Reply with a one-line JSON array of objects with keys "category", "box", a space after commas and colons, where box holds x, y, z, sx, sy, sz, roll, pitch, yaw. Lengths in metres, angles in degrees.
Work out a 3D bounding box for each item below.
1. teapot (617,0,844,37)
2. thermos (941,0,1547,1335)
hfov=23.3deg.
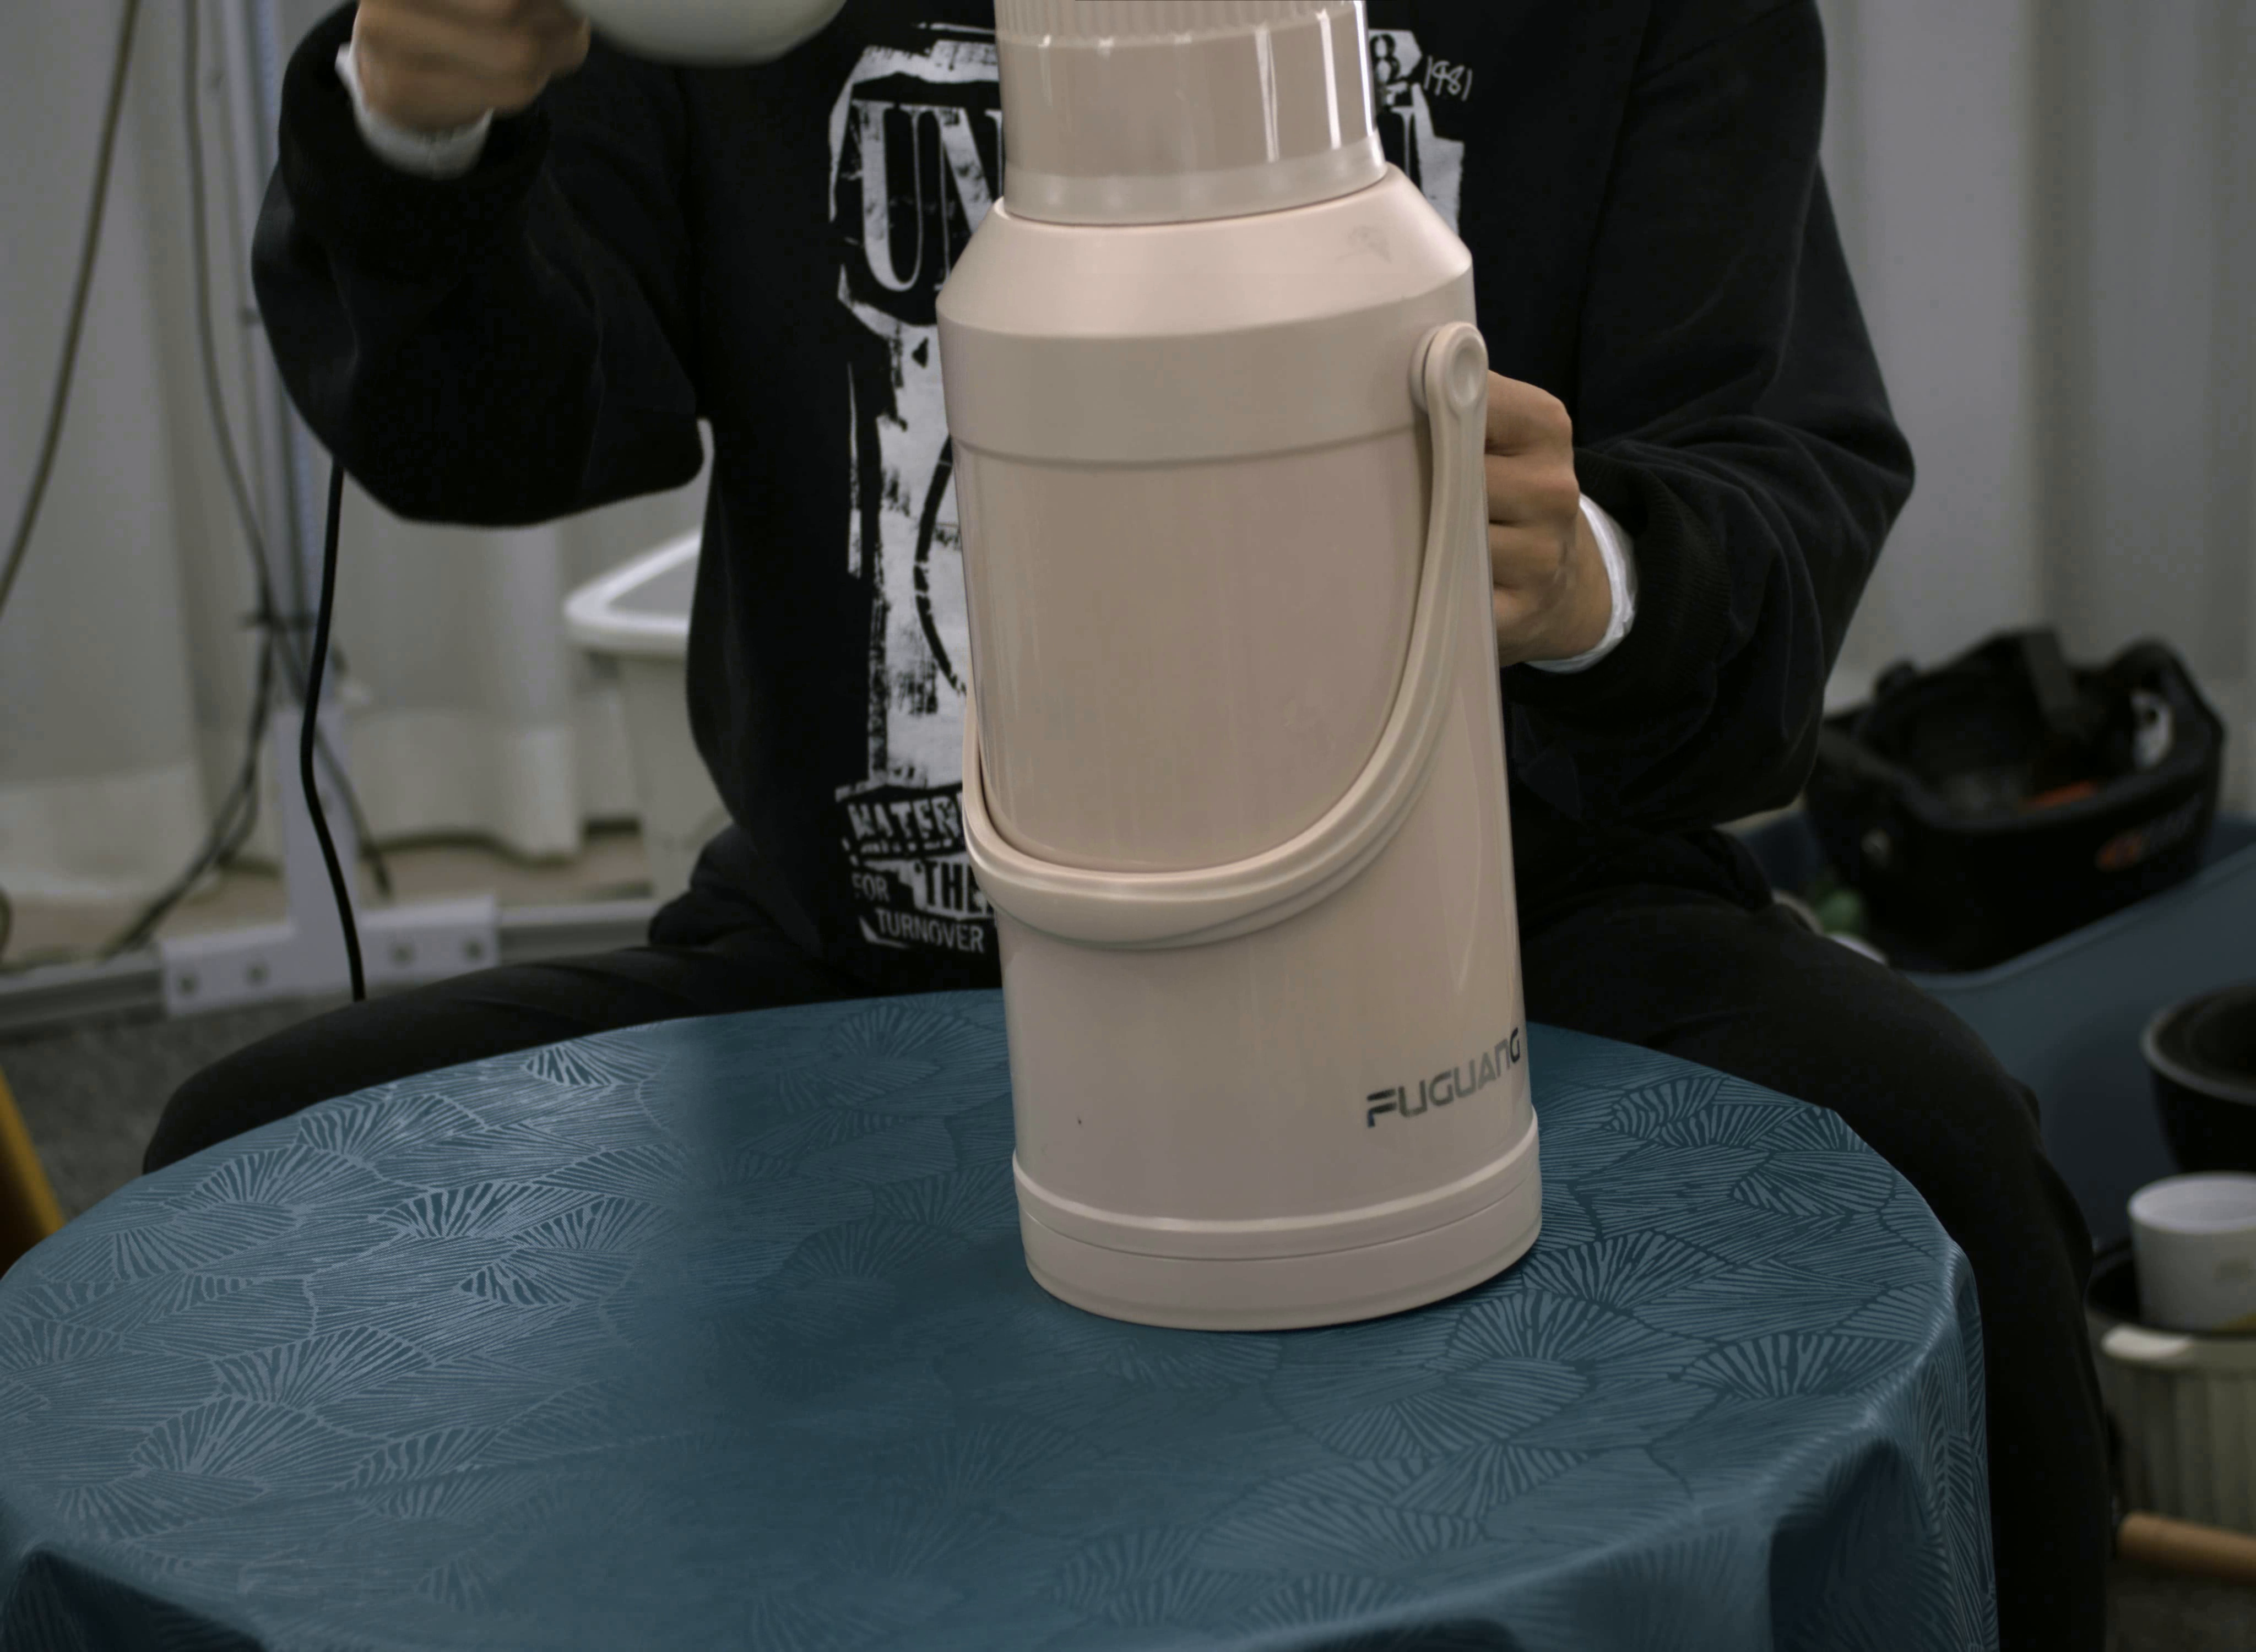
[{"category": "teapot", "box": [-0.127, -0.268, 1.603, 0.128, 0.059, 0.092, 13, 27, 13]}, {"category": "thermos", "box": [0.040, -0.069, 1.619, 0.176, 0.404, 0.207, 4, 17, 34]}]
